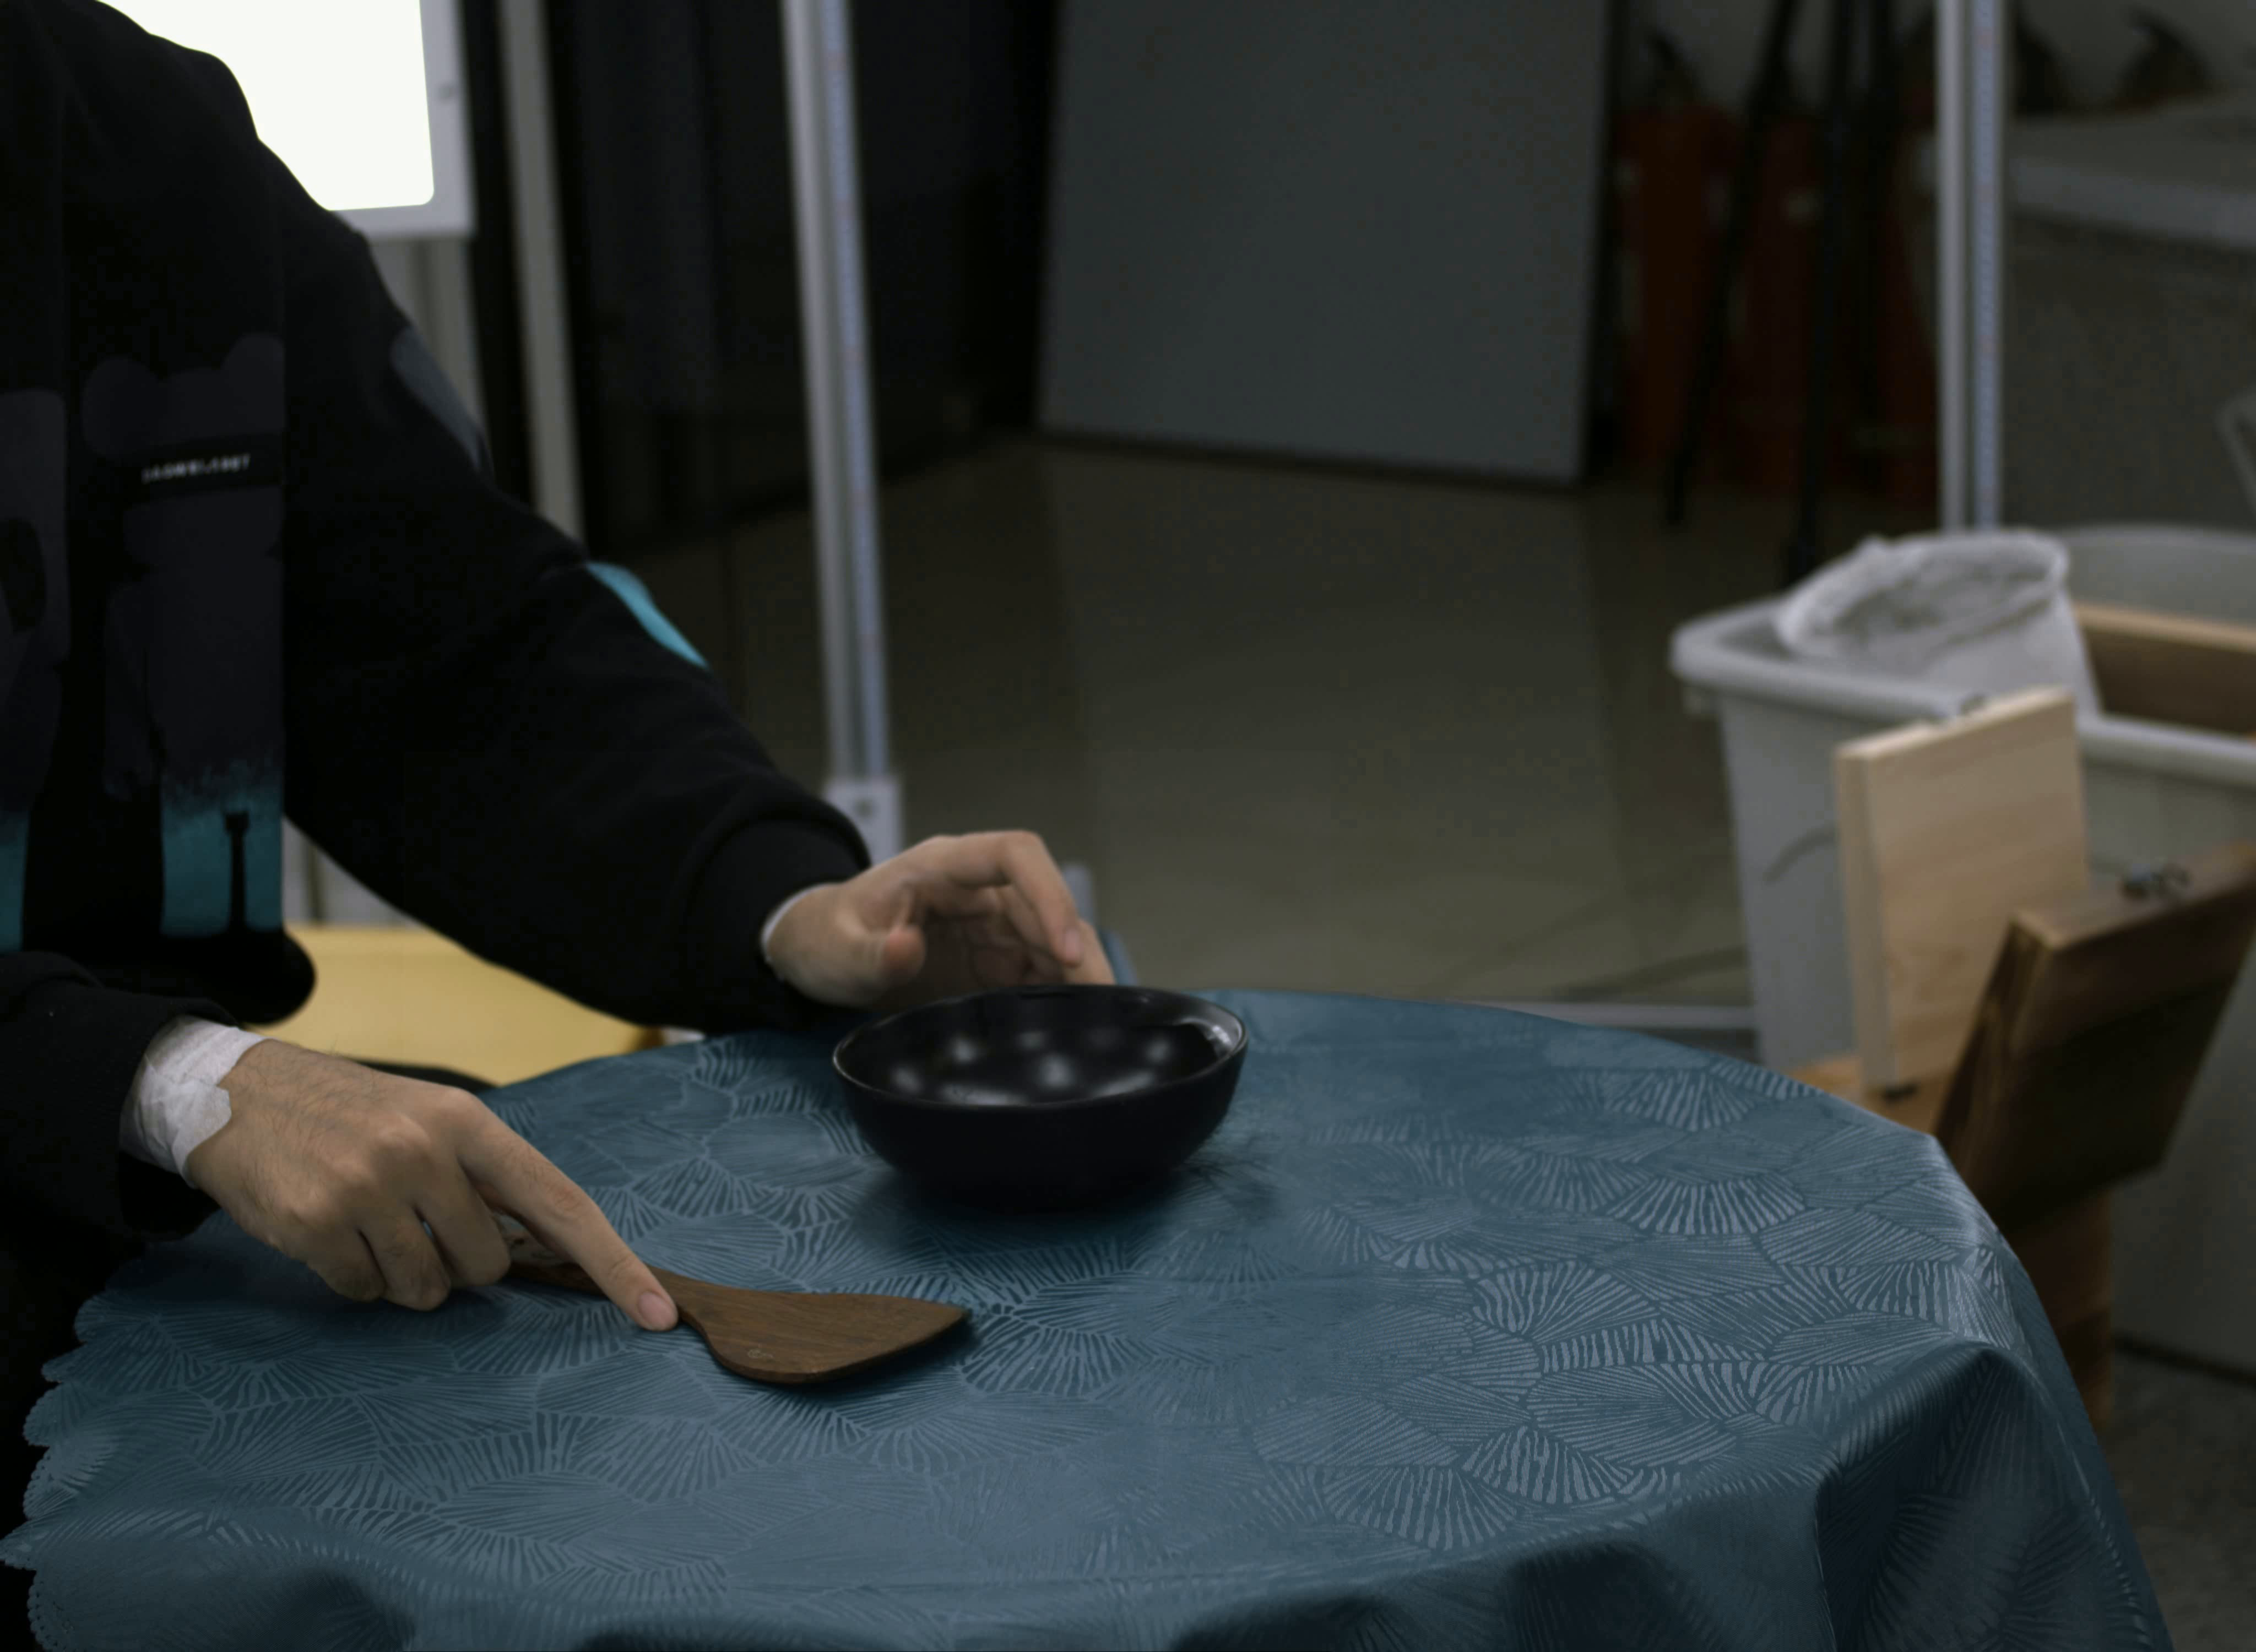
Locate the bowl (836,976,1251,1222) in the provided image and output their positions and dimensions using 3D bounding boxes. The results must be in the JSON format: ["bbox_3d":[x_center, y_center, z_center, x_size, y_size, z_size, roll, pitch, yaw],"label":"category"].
[{"bbox_3d":[-0.026,0.095,1.782,0.138,0.050,0.140,-5,16,1],"label":"bowl"}]

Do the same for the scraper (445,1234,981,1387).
[{"bbox_3d":[-0.138,0.148,1.686,0.213,0.011,0.074,8,18,44],"label":"scraper"}]
